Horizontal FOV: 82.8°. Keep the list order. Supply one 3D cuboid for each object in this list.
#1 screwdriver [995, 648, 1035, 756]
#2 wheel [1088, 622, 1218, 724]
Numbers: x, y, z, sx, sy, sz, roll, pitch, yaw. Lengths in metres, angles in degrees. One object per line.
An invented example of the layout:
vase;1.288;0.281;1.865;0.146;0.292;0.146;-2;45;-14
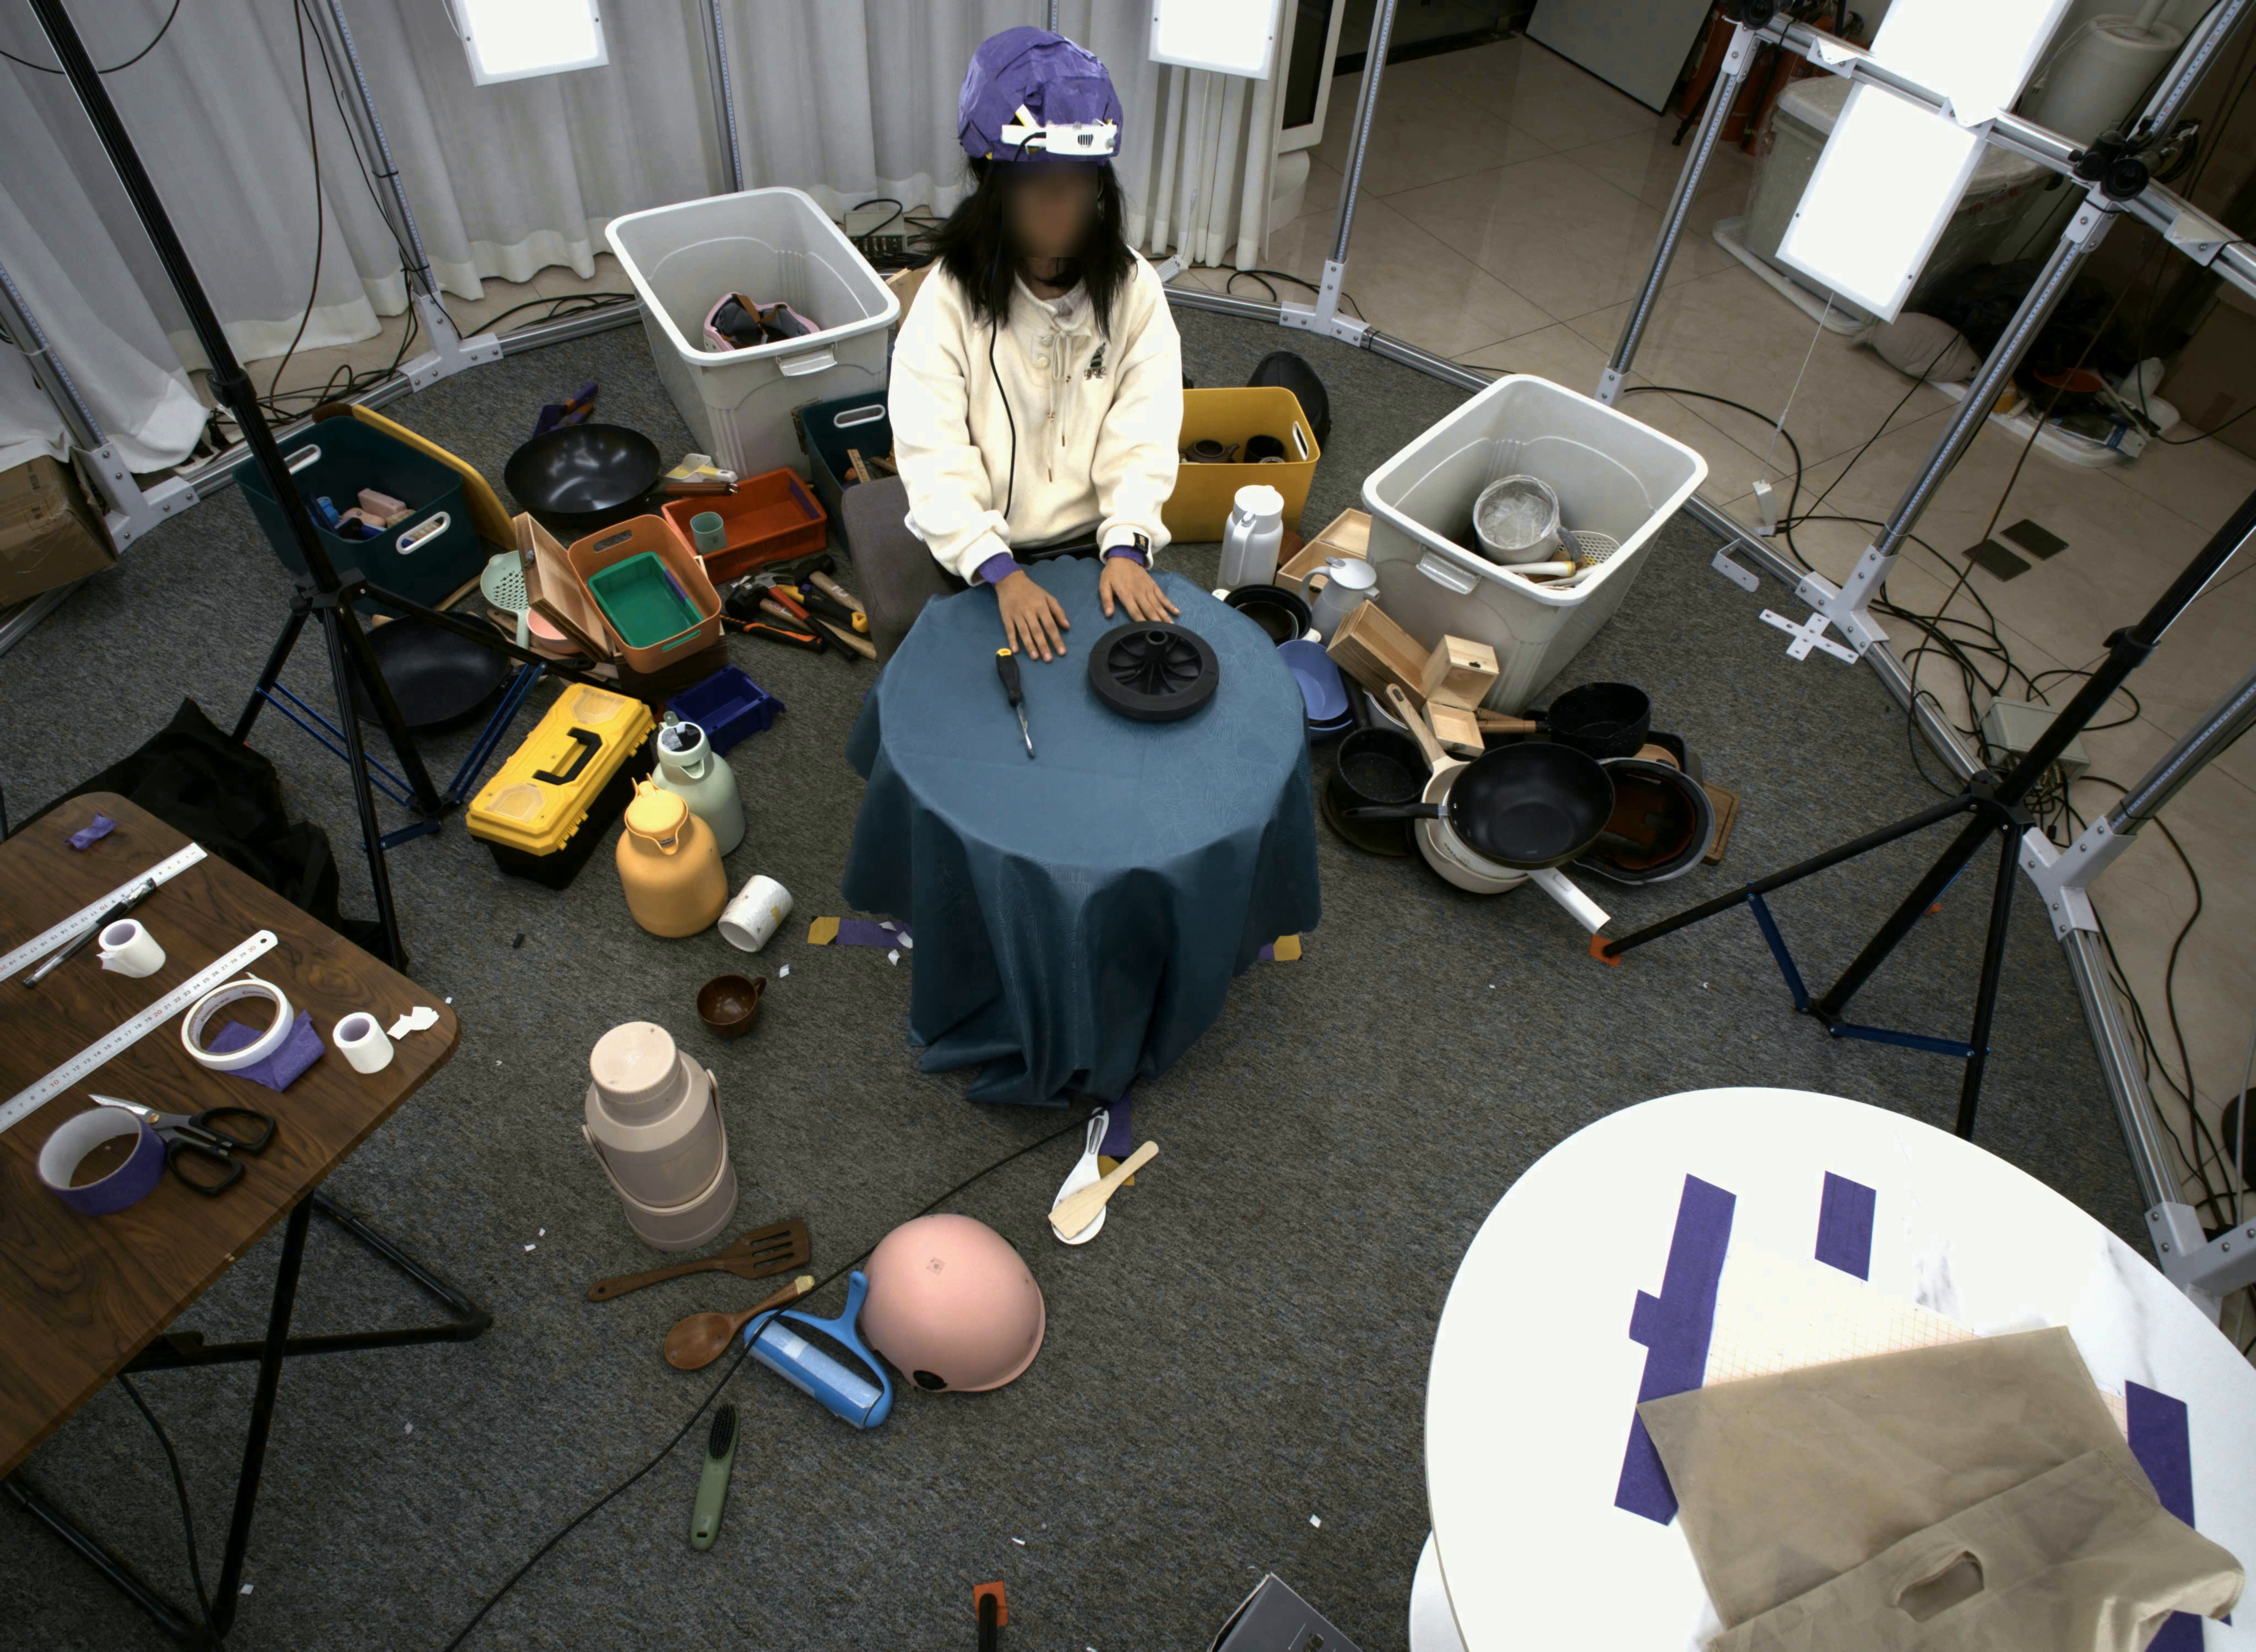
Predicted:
screwdriver;-0.159;-0.173;1.794;0.031;0.031;0.203;-7;53;-11
wheel;0.036;-0.235;1.829;0.191;0.077;0.190;-35;59;-26
